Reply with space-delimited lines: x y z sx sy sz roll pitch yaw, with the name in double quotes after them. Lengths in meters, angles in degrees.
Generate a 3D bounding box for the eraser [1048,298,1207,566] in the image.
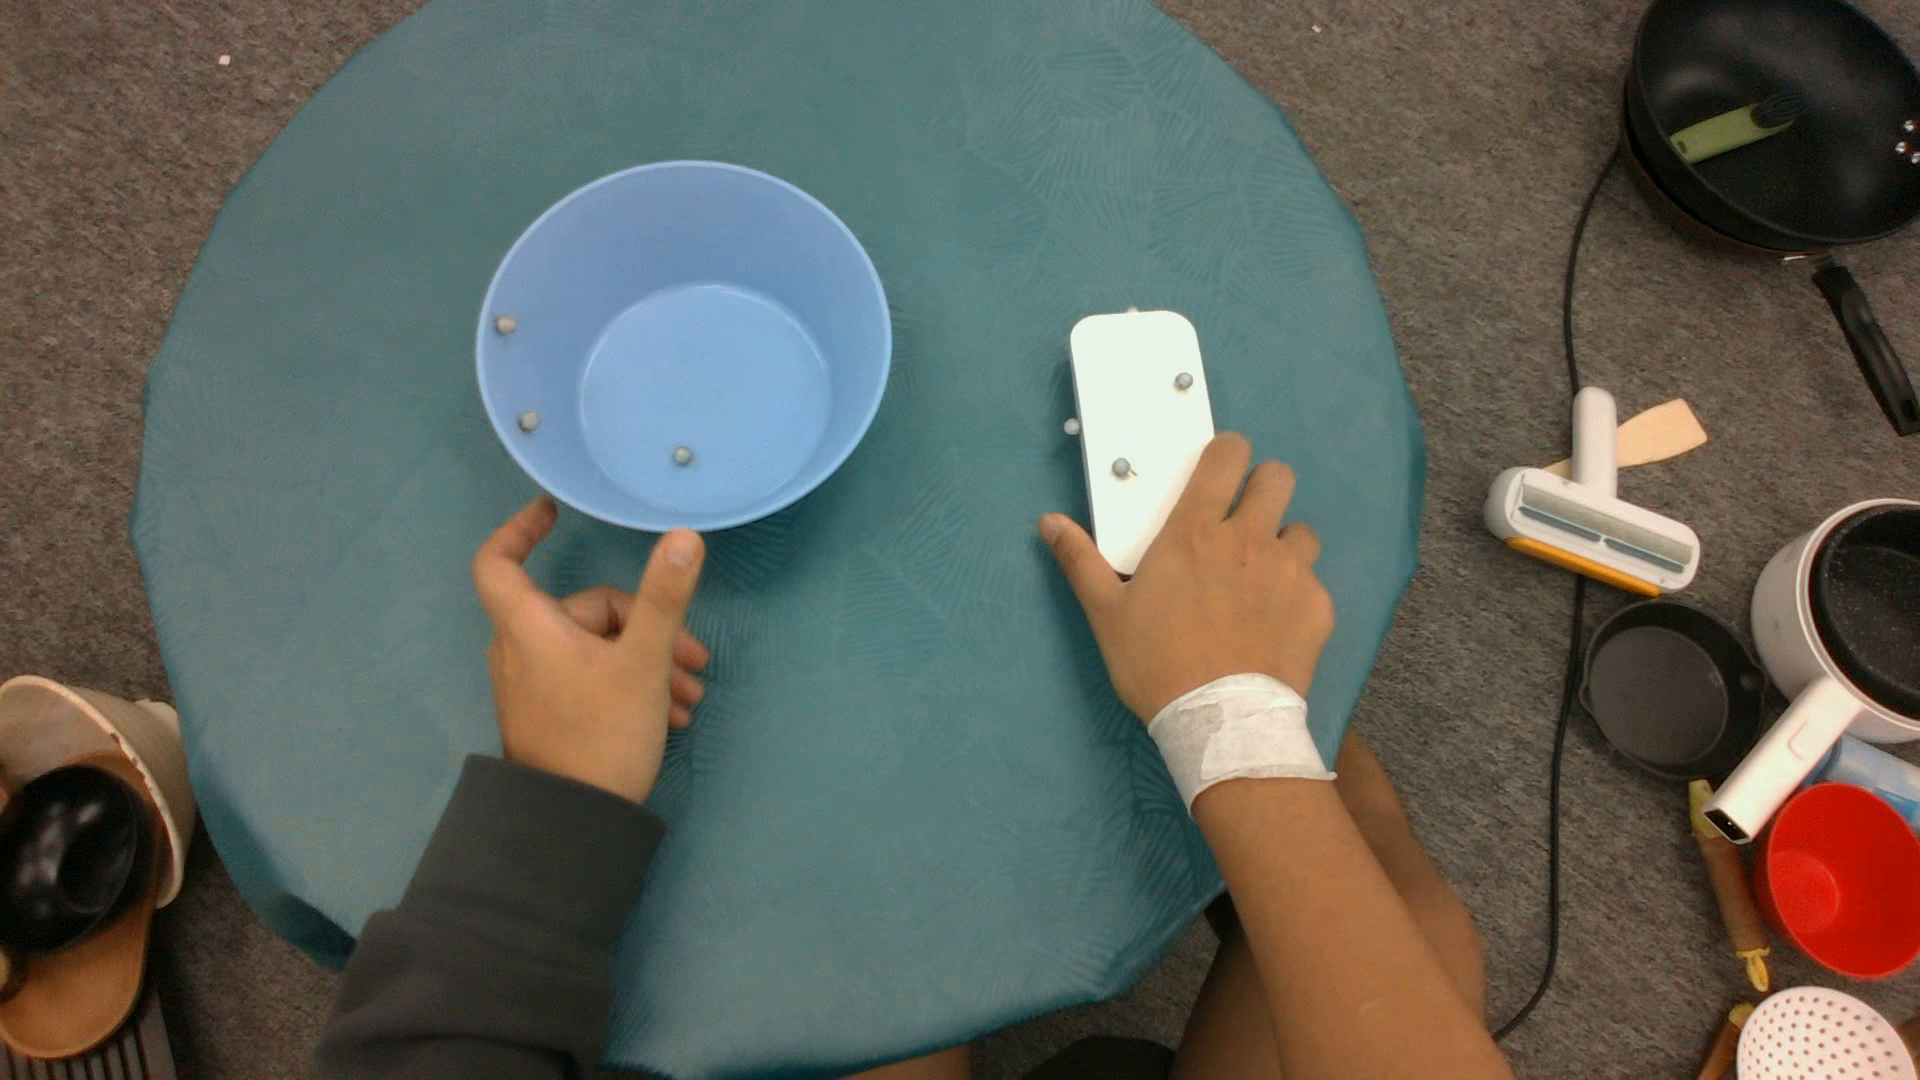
0.076 -0.052 0.647 0.063 0.034 0.131 -4 70 -4 "eraser"

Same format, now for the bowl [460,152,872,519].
-0.127 -0.082 0.623 0.176 0.070 0.176 1 71 -3 "bowl"
